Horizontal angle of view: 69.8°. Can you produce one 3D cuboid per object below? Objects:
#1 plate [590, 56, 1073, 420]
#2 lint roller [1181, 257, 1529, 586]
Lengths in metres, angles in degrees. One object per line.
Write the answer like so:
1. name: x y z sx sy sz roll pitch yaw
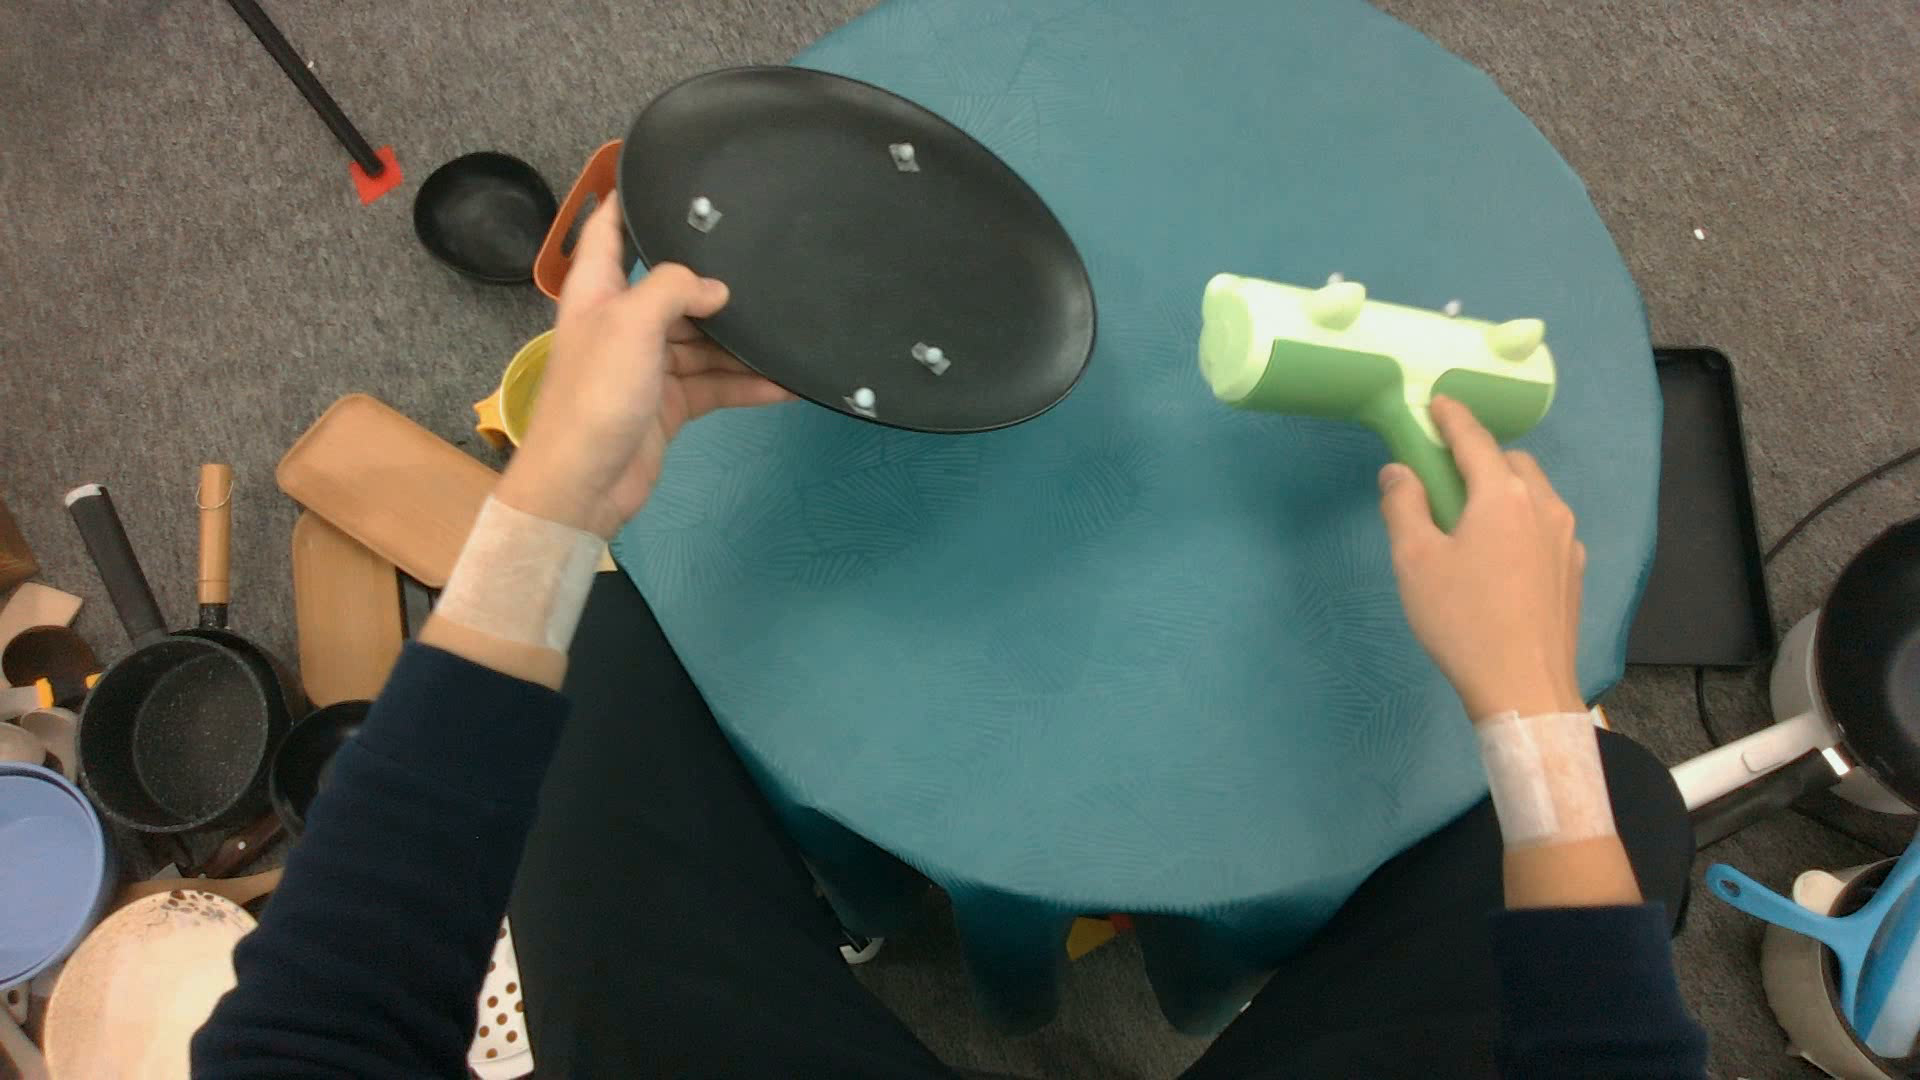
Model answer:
1. plate: -0.058 -0.148 0.673 0.244 0.023 0.245 15 49 -18
2. lint roller: 0.220 -0.067 0.646 0.199 0.082 0.184 2 42 -28
